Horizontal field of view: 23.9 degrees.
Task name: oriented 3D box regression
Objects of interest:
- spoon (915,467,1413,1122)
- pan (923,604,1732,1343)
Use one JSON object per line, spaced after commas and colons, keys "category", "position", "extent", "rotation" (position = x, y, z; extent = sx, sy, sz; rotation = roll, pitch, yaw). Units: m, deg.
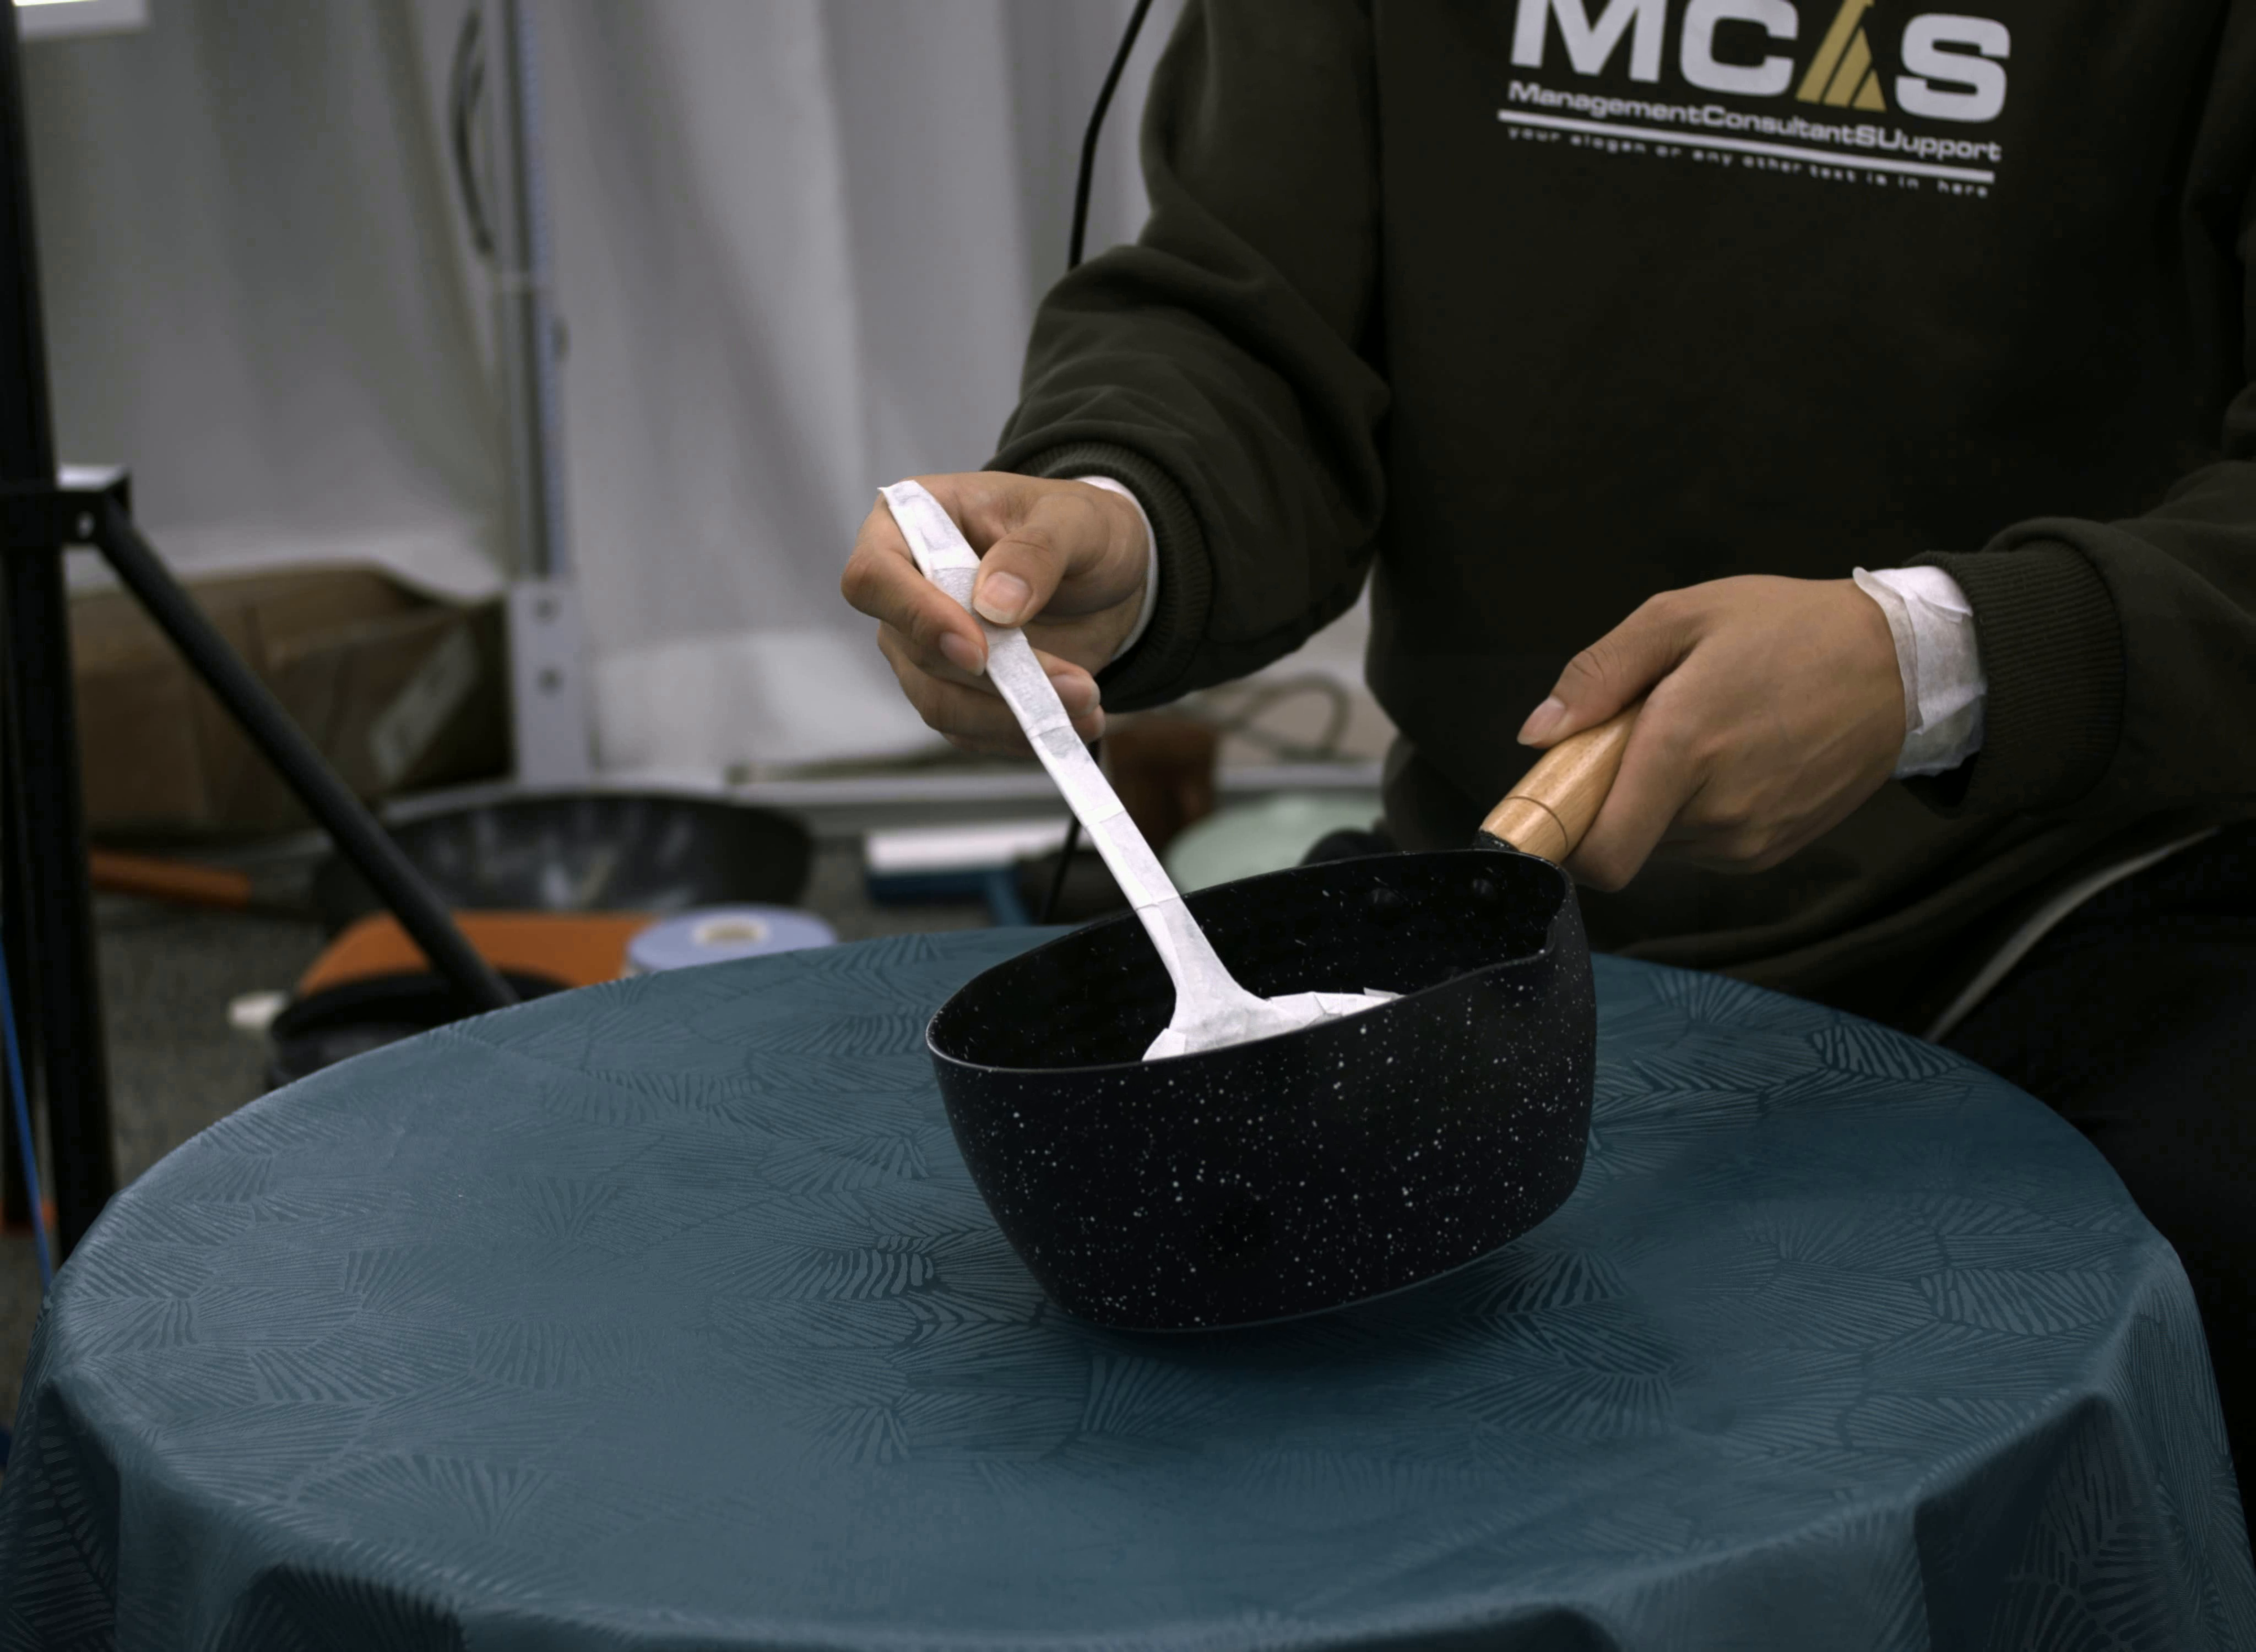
{"category": "spoon", "position": [0.011, -0.014, 1.489], "extent": [0.098, 0.059, 0.282], "rotation": [-10, 55, -28]}
{"category": "pan", "position": [0.086, 0.039, 1.524], "extent": [0.211, 0.108, 0.336], "rotation": [-6, 16, 40]}
